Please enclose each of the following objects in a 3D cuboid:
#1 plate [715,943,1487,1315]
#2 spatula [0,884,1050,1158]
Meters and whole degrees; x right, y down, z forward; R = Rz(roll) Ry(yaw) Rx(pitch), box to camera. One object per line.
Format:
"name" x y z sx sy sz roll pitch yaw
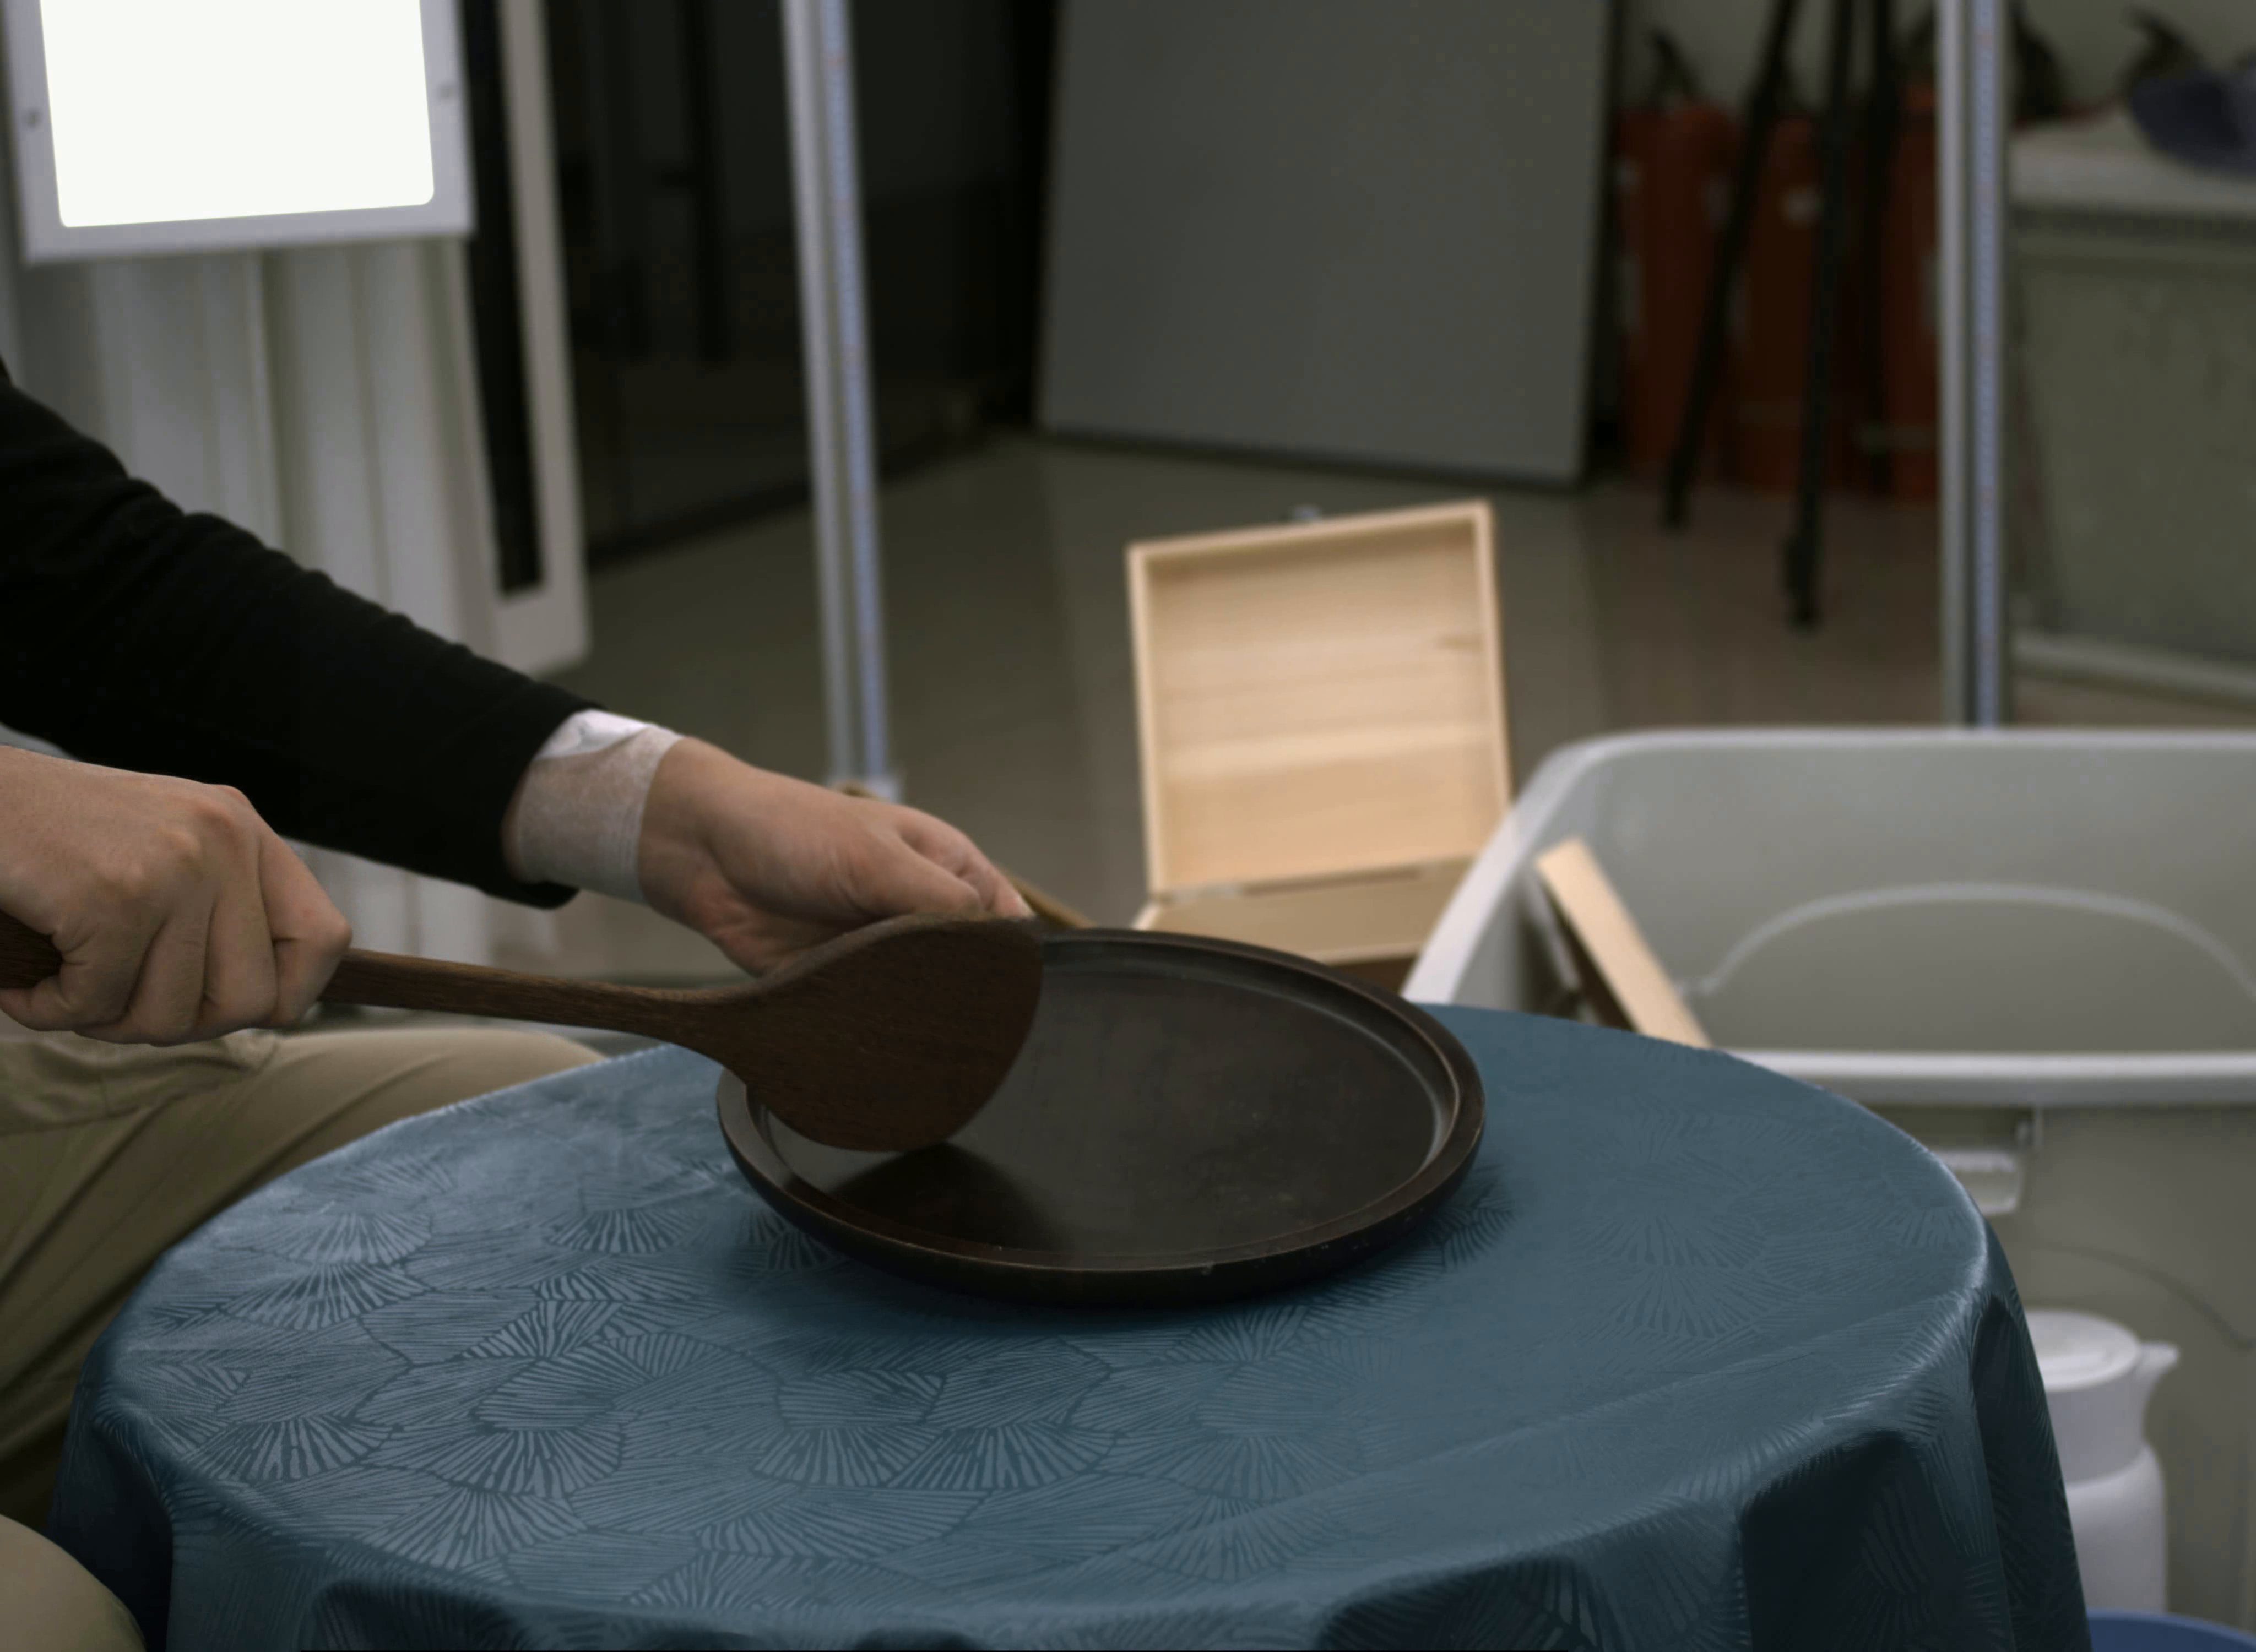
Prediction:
"plate" -0.009 0.095 1.750 0.251 0.029 0.255 1 23 -1
"spatula" -0.197 0.047 1.625 0.377 0.097 0.016 8 30 -26
